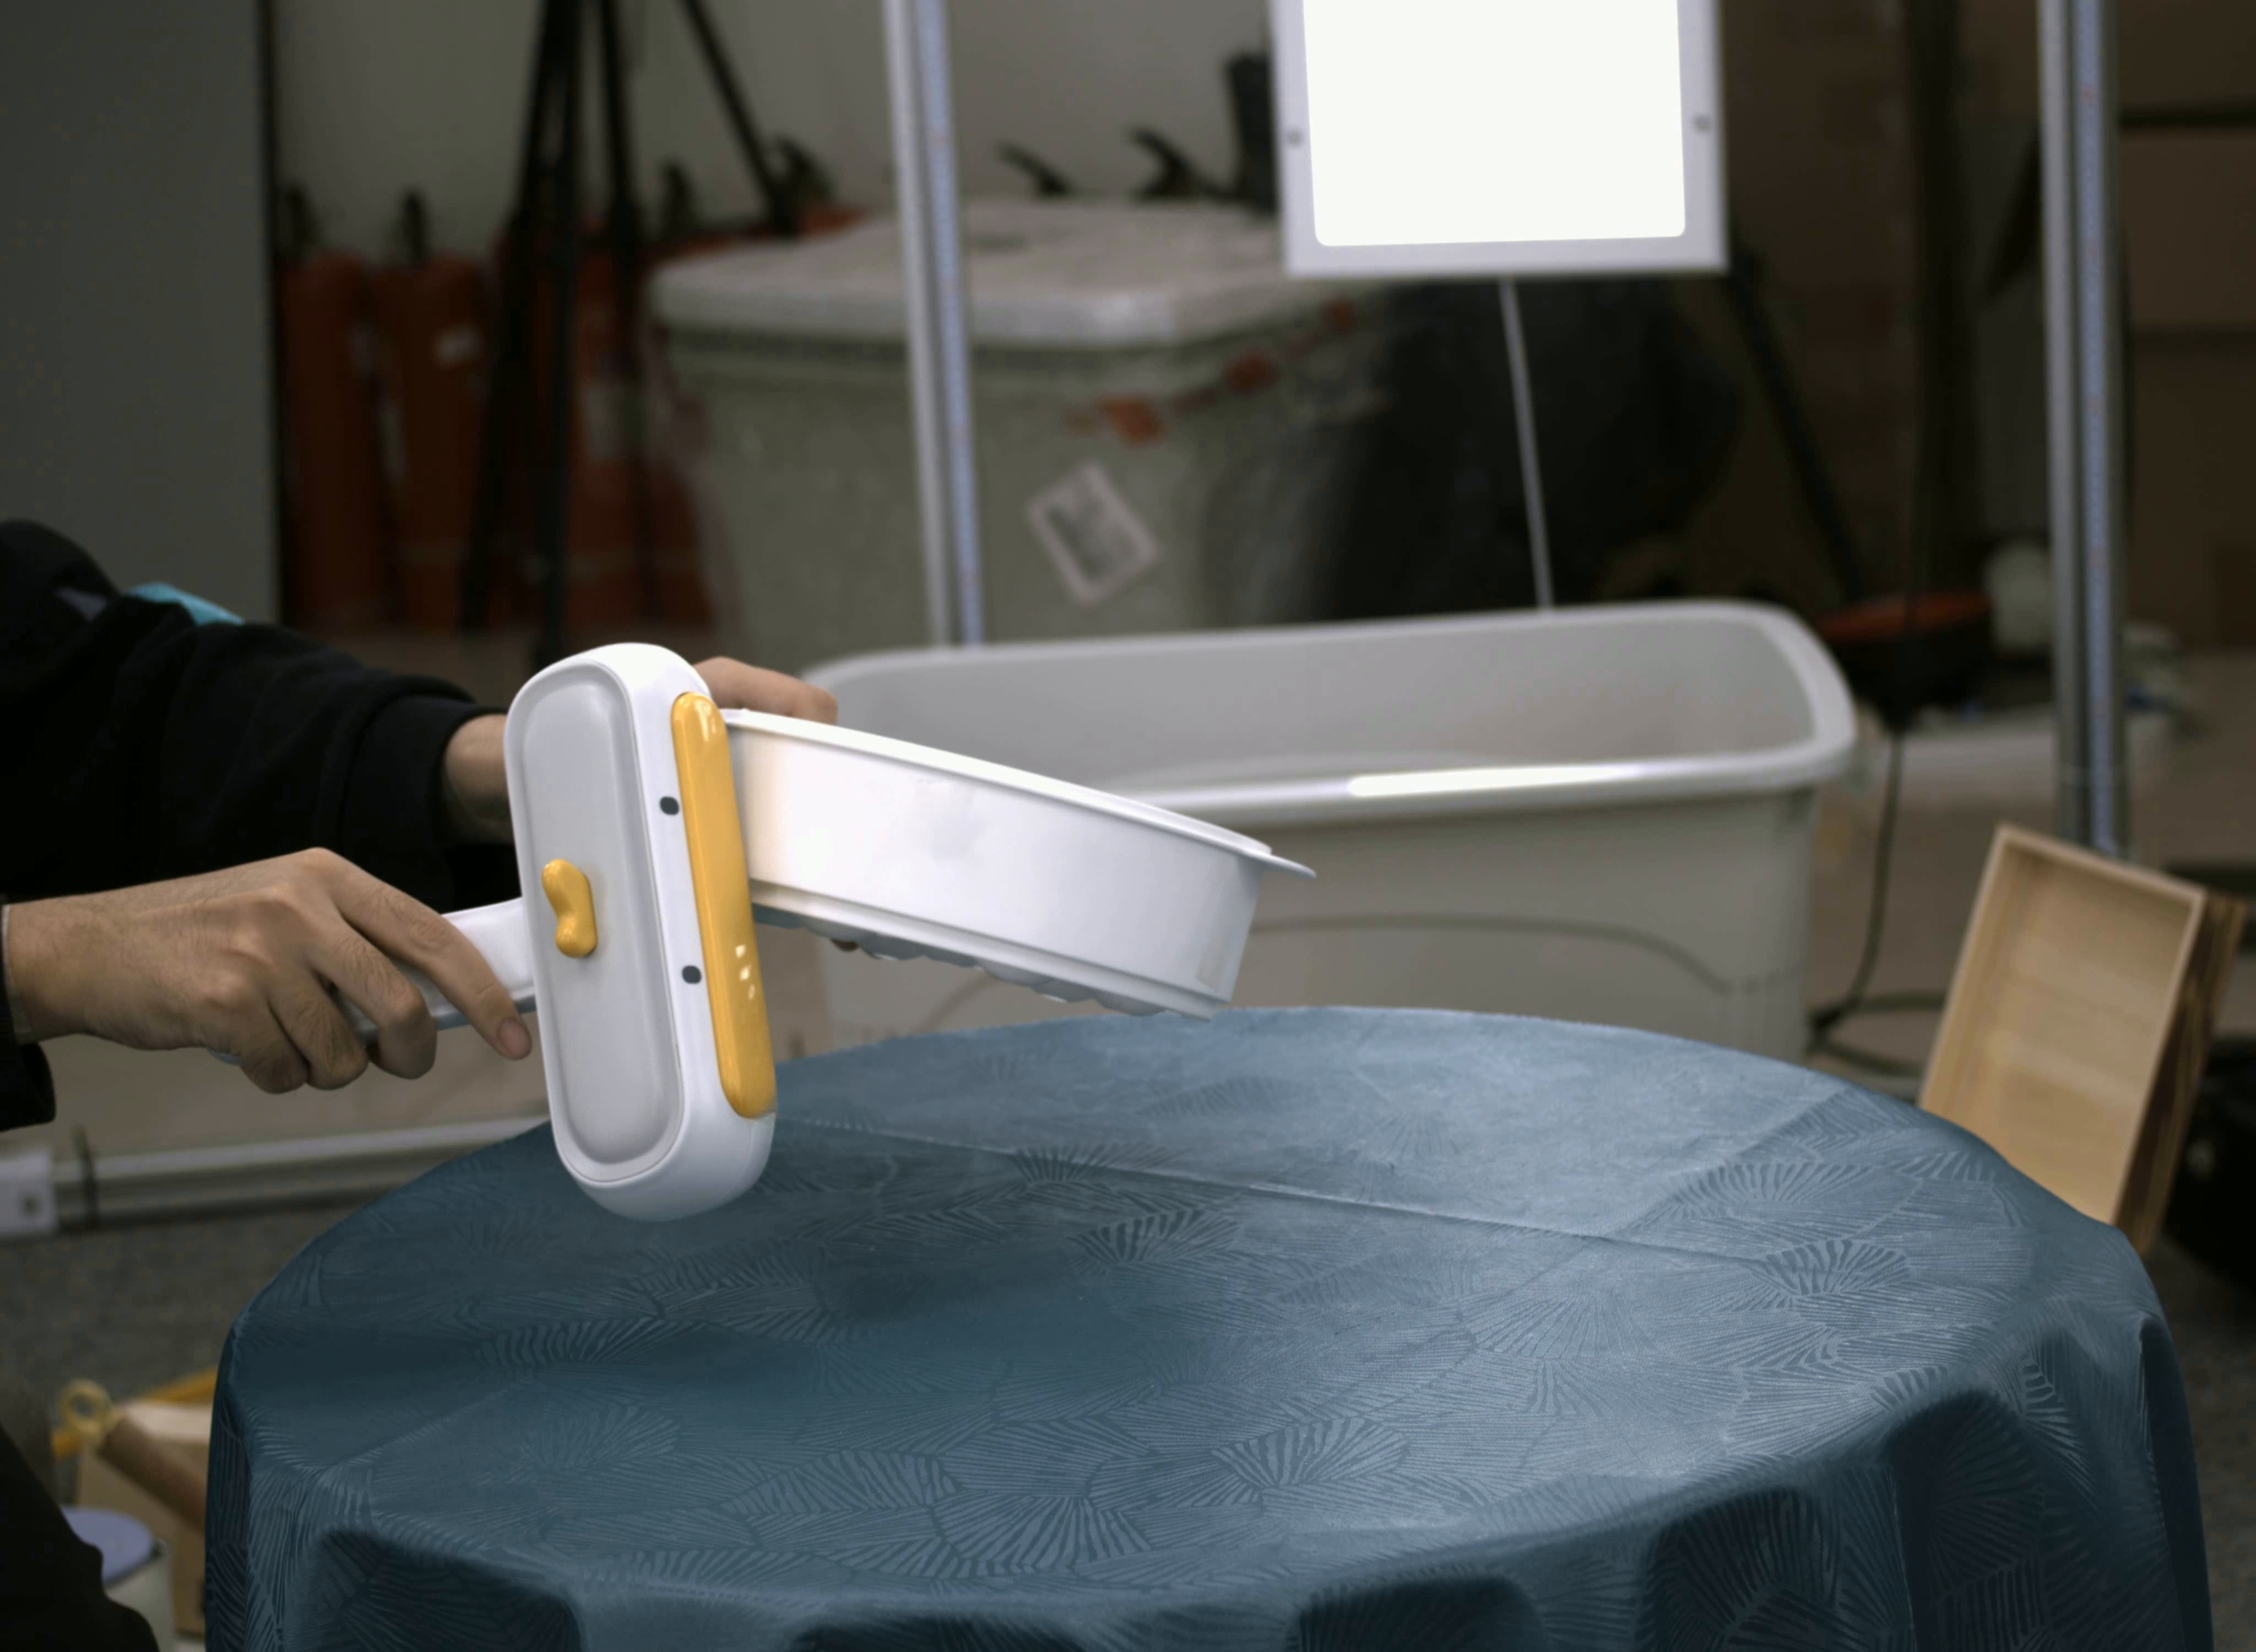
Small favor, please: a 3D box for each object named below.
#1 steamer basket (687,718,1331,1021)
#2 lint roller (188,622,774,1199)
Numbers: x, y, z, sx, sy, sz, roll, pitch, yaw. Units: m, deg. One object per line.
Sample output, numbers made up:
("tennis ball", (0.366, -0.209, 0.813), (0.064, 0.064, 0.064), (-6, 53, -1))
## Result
("steamer basket", (-0.049, 0.018, 1.869), (0.232, 0.069, 0.200), (11, -4, 10))
("lint roller", (-0.218, 0.044, 1.824), (0.195, 0.193, 0.073), (-20, -14, 22))
